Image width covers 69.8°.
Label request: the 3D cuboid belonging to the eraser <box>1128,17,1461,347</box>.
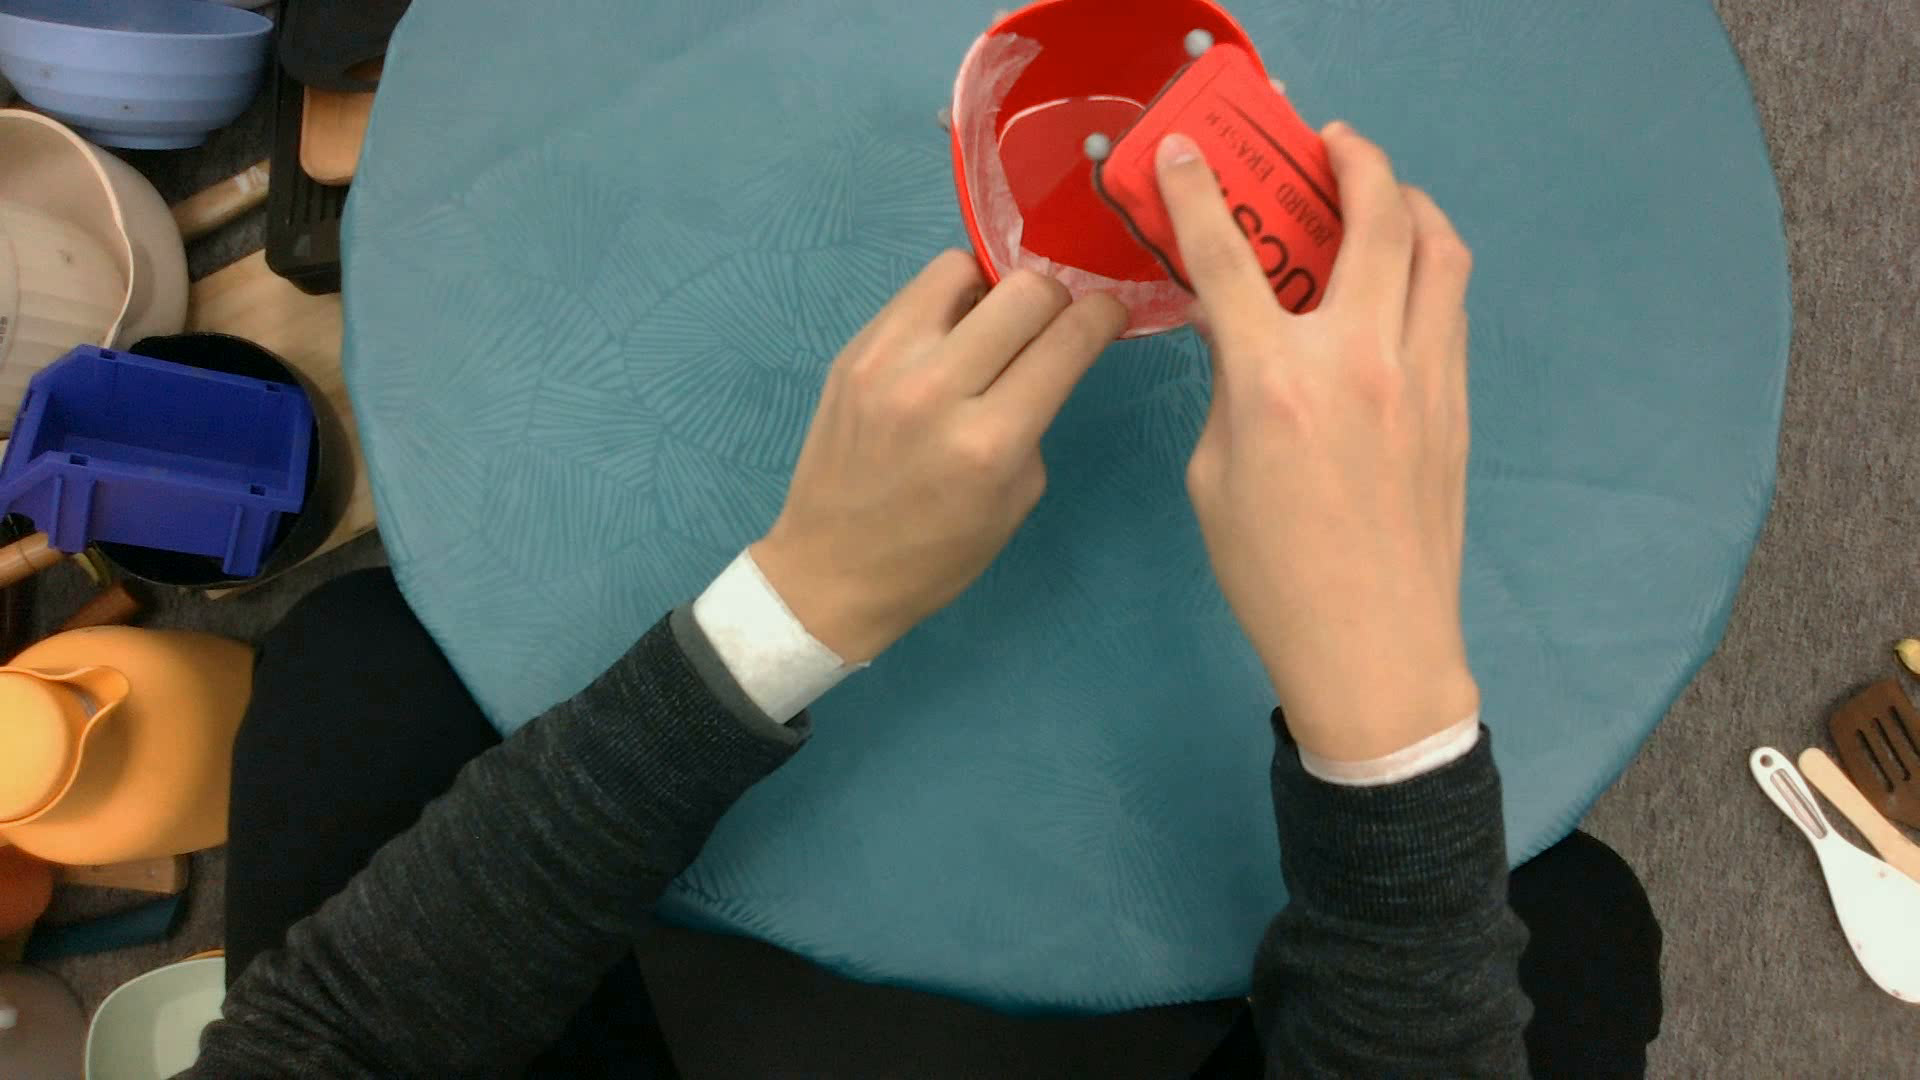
[{"bbox_3d":[0.109,-0.114,0.446,0.108,0.023,0.059,34,84,-20],"label":"eraser"}]

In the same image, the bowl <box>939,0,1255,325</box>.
[{"bbox_3d":[0.044,-0.126,0.462,0.119,0.051,0.119,0,91,-14],"label":"bowl"}]
